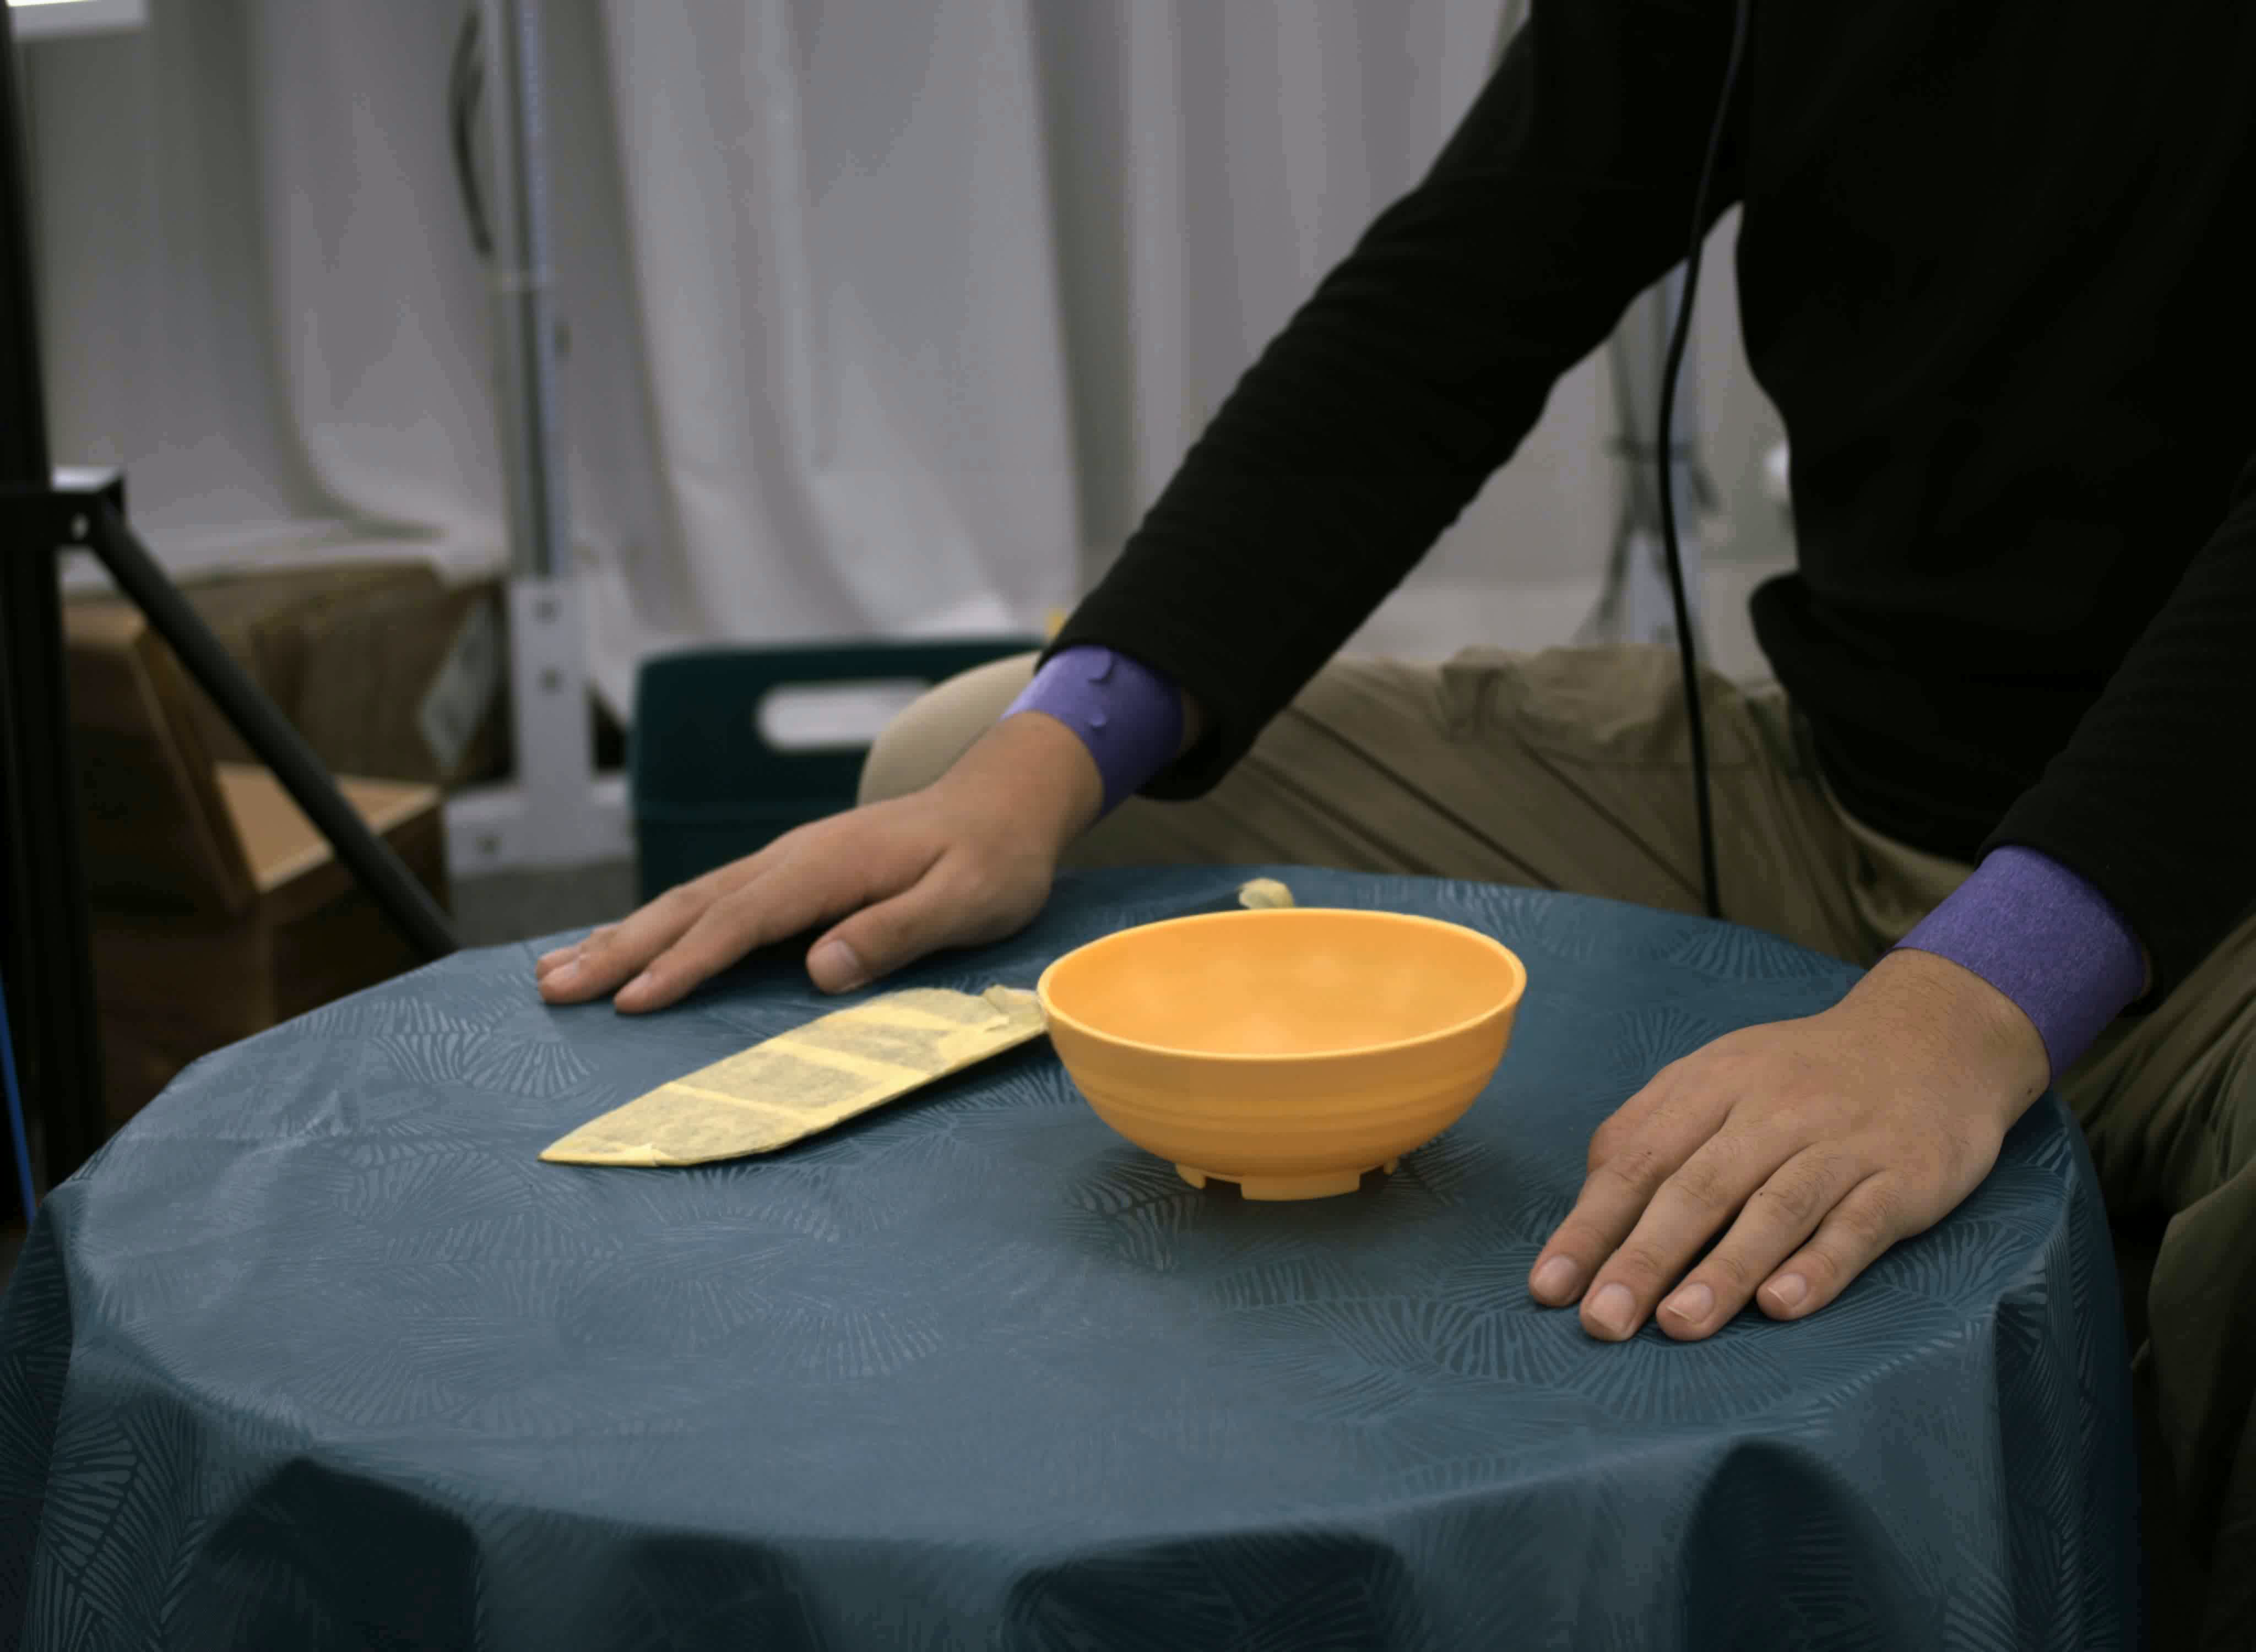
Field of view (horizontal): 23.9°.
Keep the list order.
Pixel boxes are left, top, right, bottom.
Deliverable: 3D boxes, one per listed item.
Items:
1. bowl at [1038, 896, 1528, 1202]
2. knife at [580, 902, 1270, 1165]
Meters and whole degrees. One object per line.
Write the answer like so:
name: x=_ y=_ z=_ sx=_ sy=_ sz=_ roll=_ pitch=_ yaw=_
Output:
bowl: x=0.046 y=0.072 z=1.567 sx=0.144 sy=0.060 sz=0.146 roll=-1 pitch=18 yaw=-1
knife: x=-0.060 y=0.066 z=1.689 sx=0.283 sy=0.027 sz=0.083 roll=-18 pitch=23 yaw=-40
